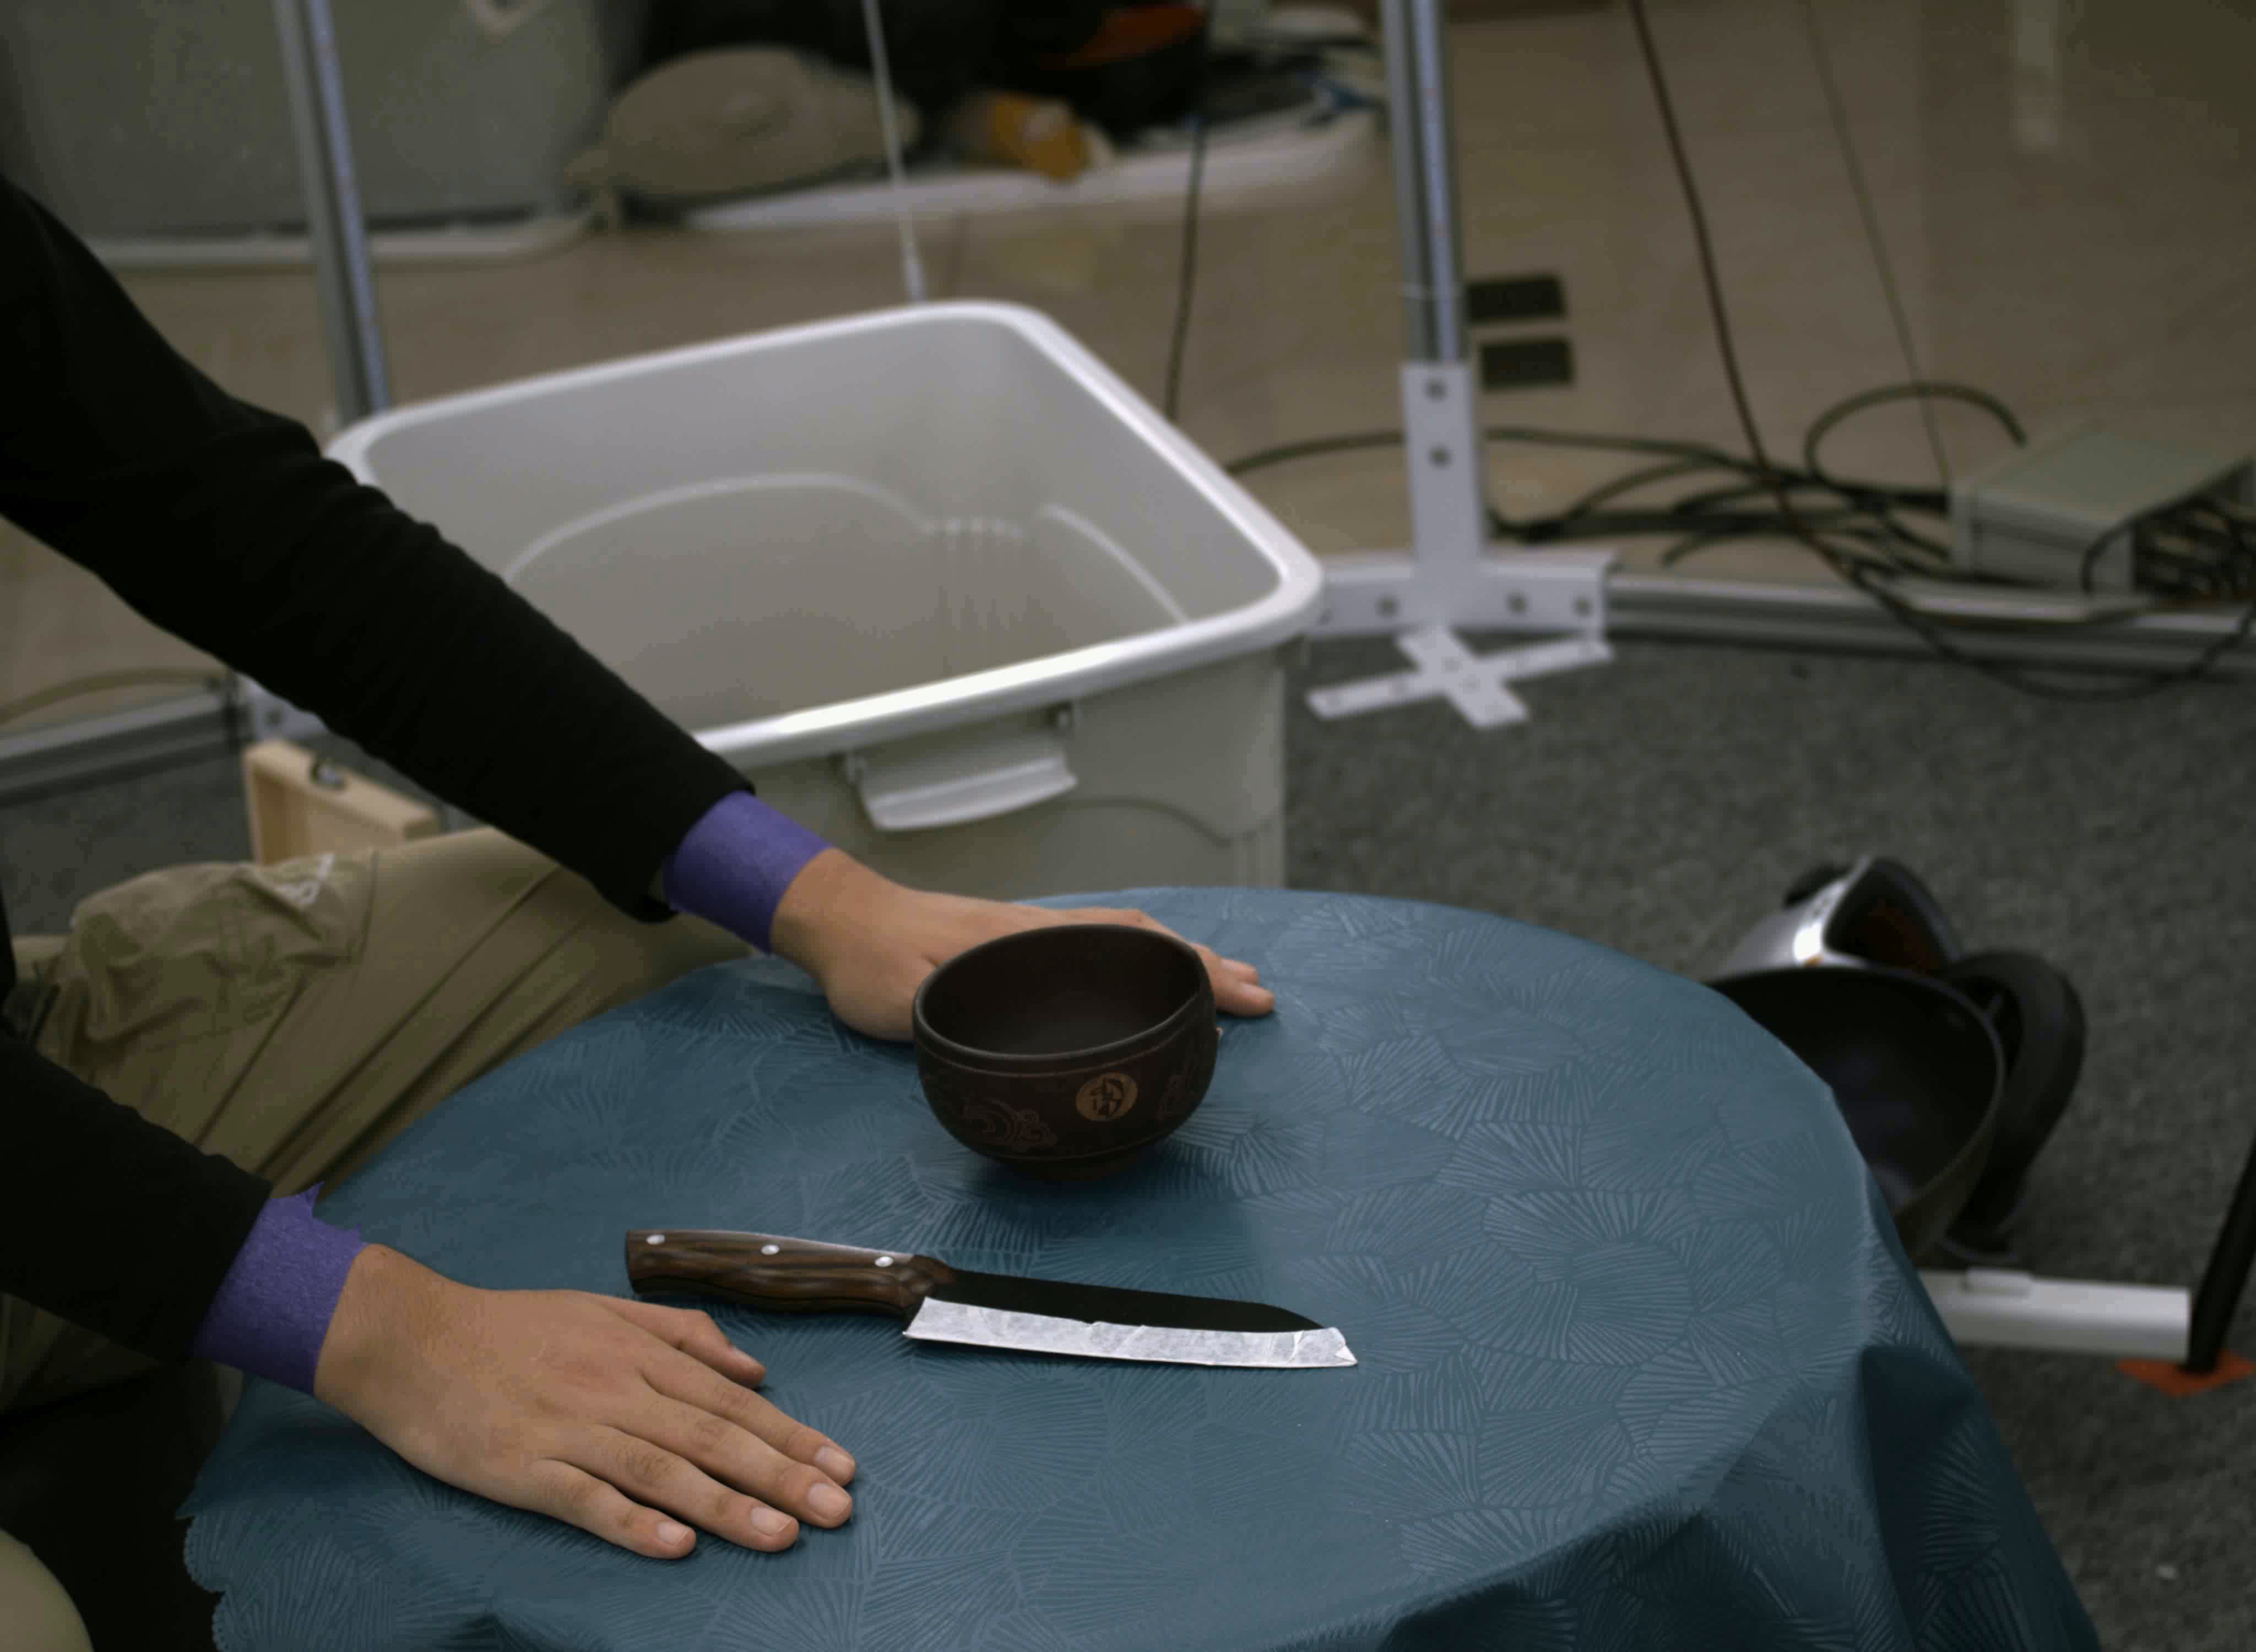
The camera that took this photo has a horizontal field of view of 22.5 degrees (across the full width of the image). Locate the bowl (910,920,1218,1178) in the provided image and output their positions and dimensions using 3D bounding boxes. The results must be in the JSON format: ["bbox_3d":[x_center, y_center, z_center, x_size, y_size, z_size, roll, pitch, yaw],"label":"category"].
[{"bbox_3d":[-0.023,0.091,2.171,0.118,0.071,0.116,-6,25,3],"label":"bowl"}]

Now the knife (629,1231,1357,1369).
[{"bbox_3d":[-0.053,0.175,2.069,0.288,0.020,0.049,6,33,19],"label":"knife"}]
